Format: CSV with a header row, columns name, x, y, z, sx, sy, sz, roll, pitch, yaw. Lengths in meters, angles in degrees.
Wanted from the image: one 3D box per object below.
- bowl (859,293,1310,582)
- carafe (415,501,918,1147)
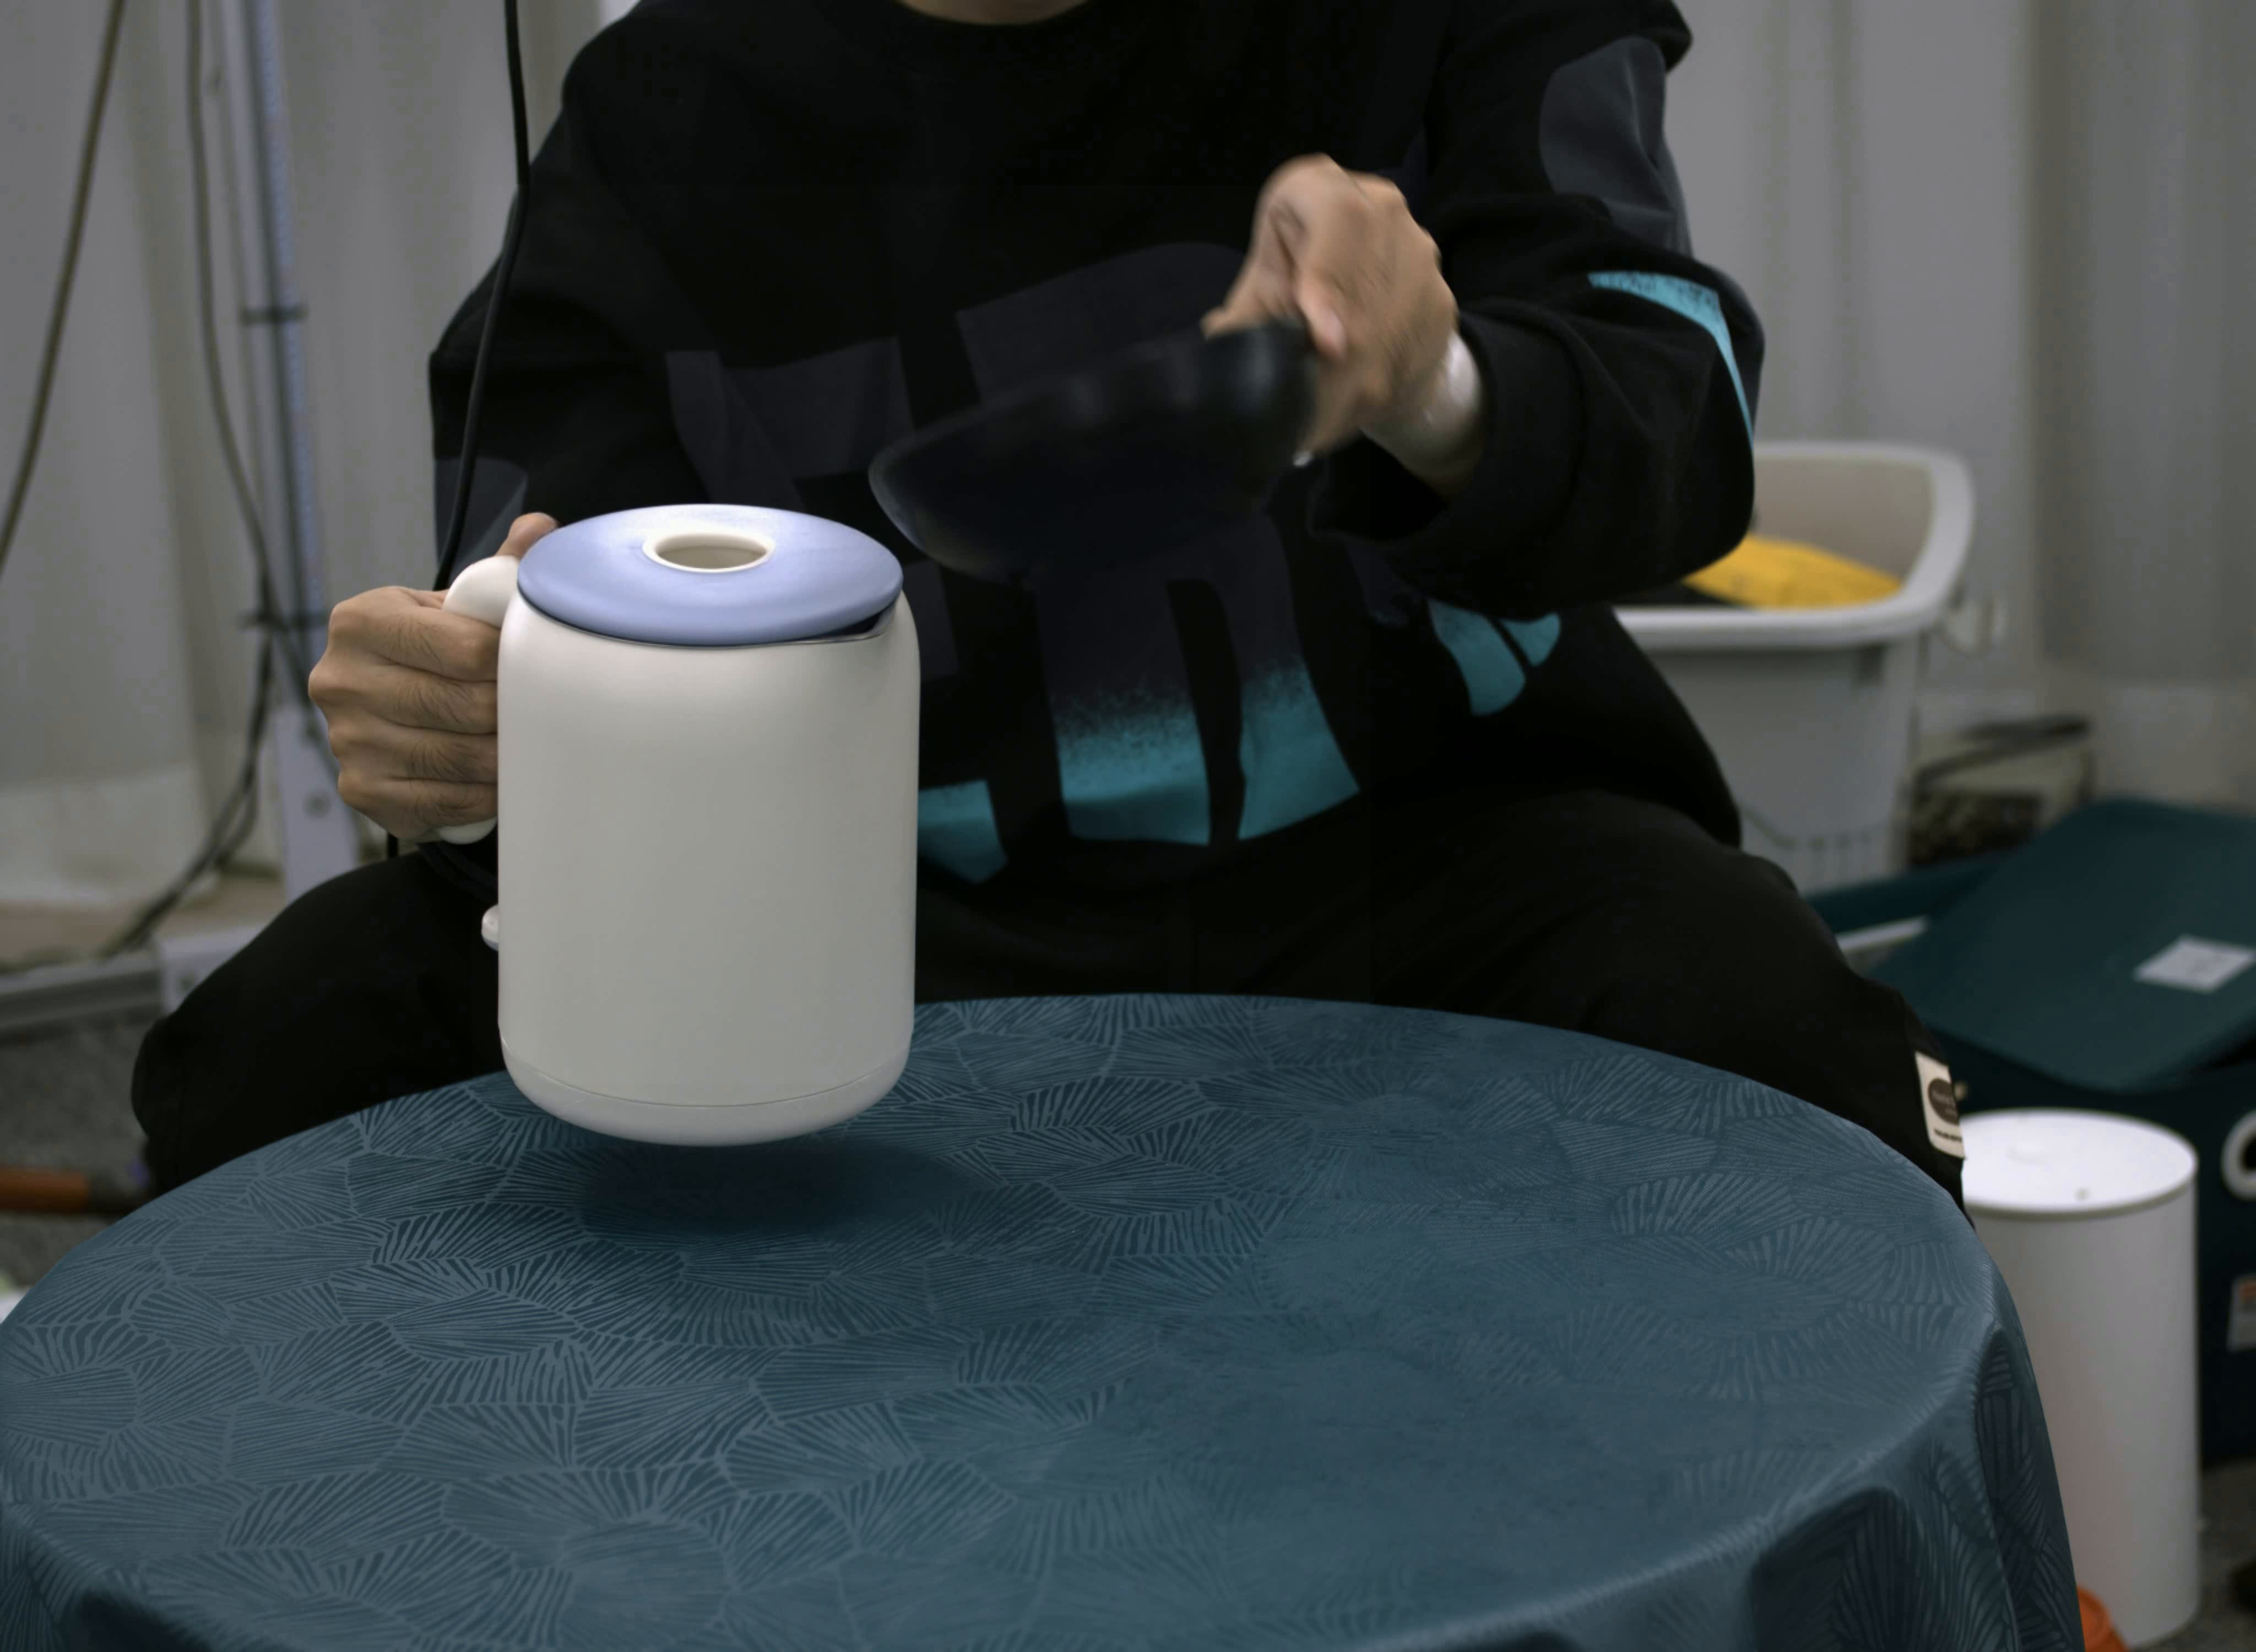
name,x,y,z,sx,sy,sz,roll,pitch,yaw
bowl,-0.006,-0.107,1.600,0.139,0.050,0.139,-20,-5,-2
carafe,-0.150,-0.007,1.720,0.192,0.181,0.132,14,22,35
